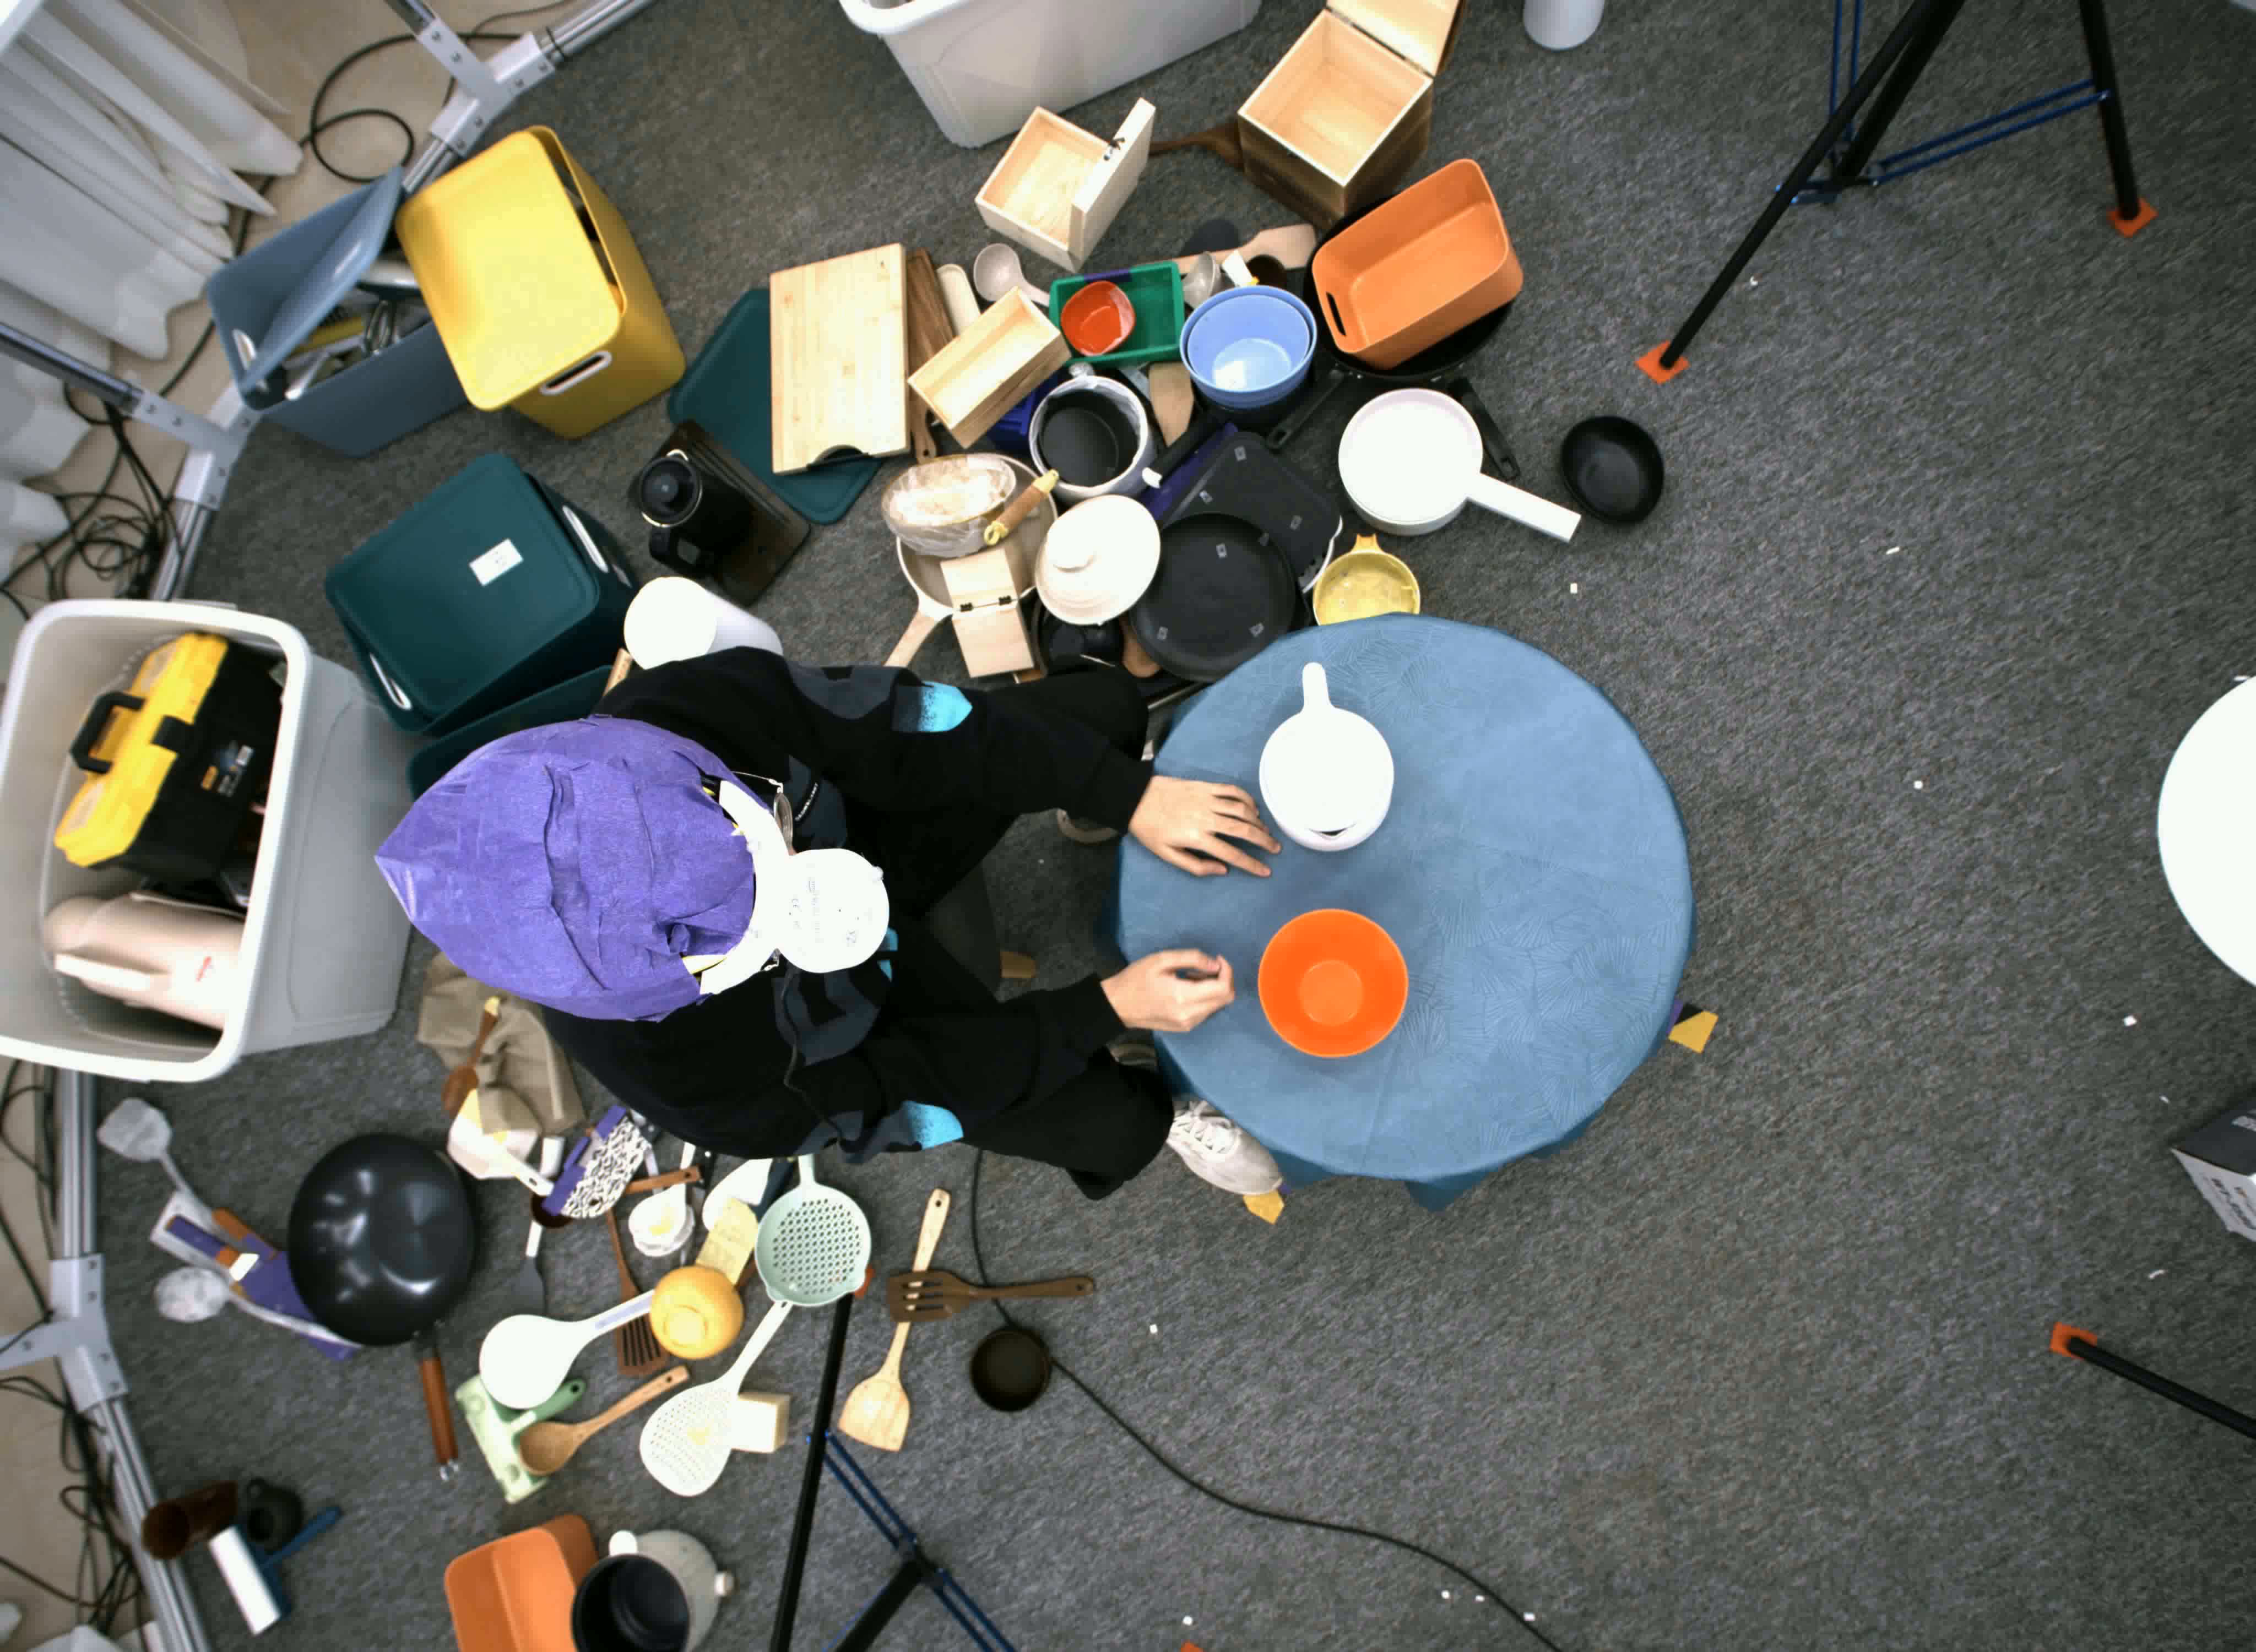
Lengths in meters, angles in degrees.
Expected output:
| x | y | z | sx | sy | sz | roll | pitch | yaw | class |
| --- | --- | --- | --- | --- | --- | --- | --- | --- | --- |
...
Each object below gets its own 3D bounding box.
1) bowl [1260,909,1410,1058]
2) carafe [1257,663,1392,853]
| x | y | z | sx | sy | sz | roll | pitch | yaw | class |
| --- | --- | --- | --- | --- | --- | --- | --- | --- | --- |
| 0.211 | 0.160 | 1.411 | 0.148 | 0.105 | 0.147 | -1 | 86 | 10 | bowl |
| 0.195 | -0.070 | 1.390 | 0.133 | 0.183 | 0.189 | -9 | 82 | 8 | carafe |
